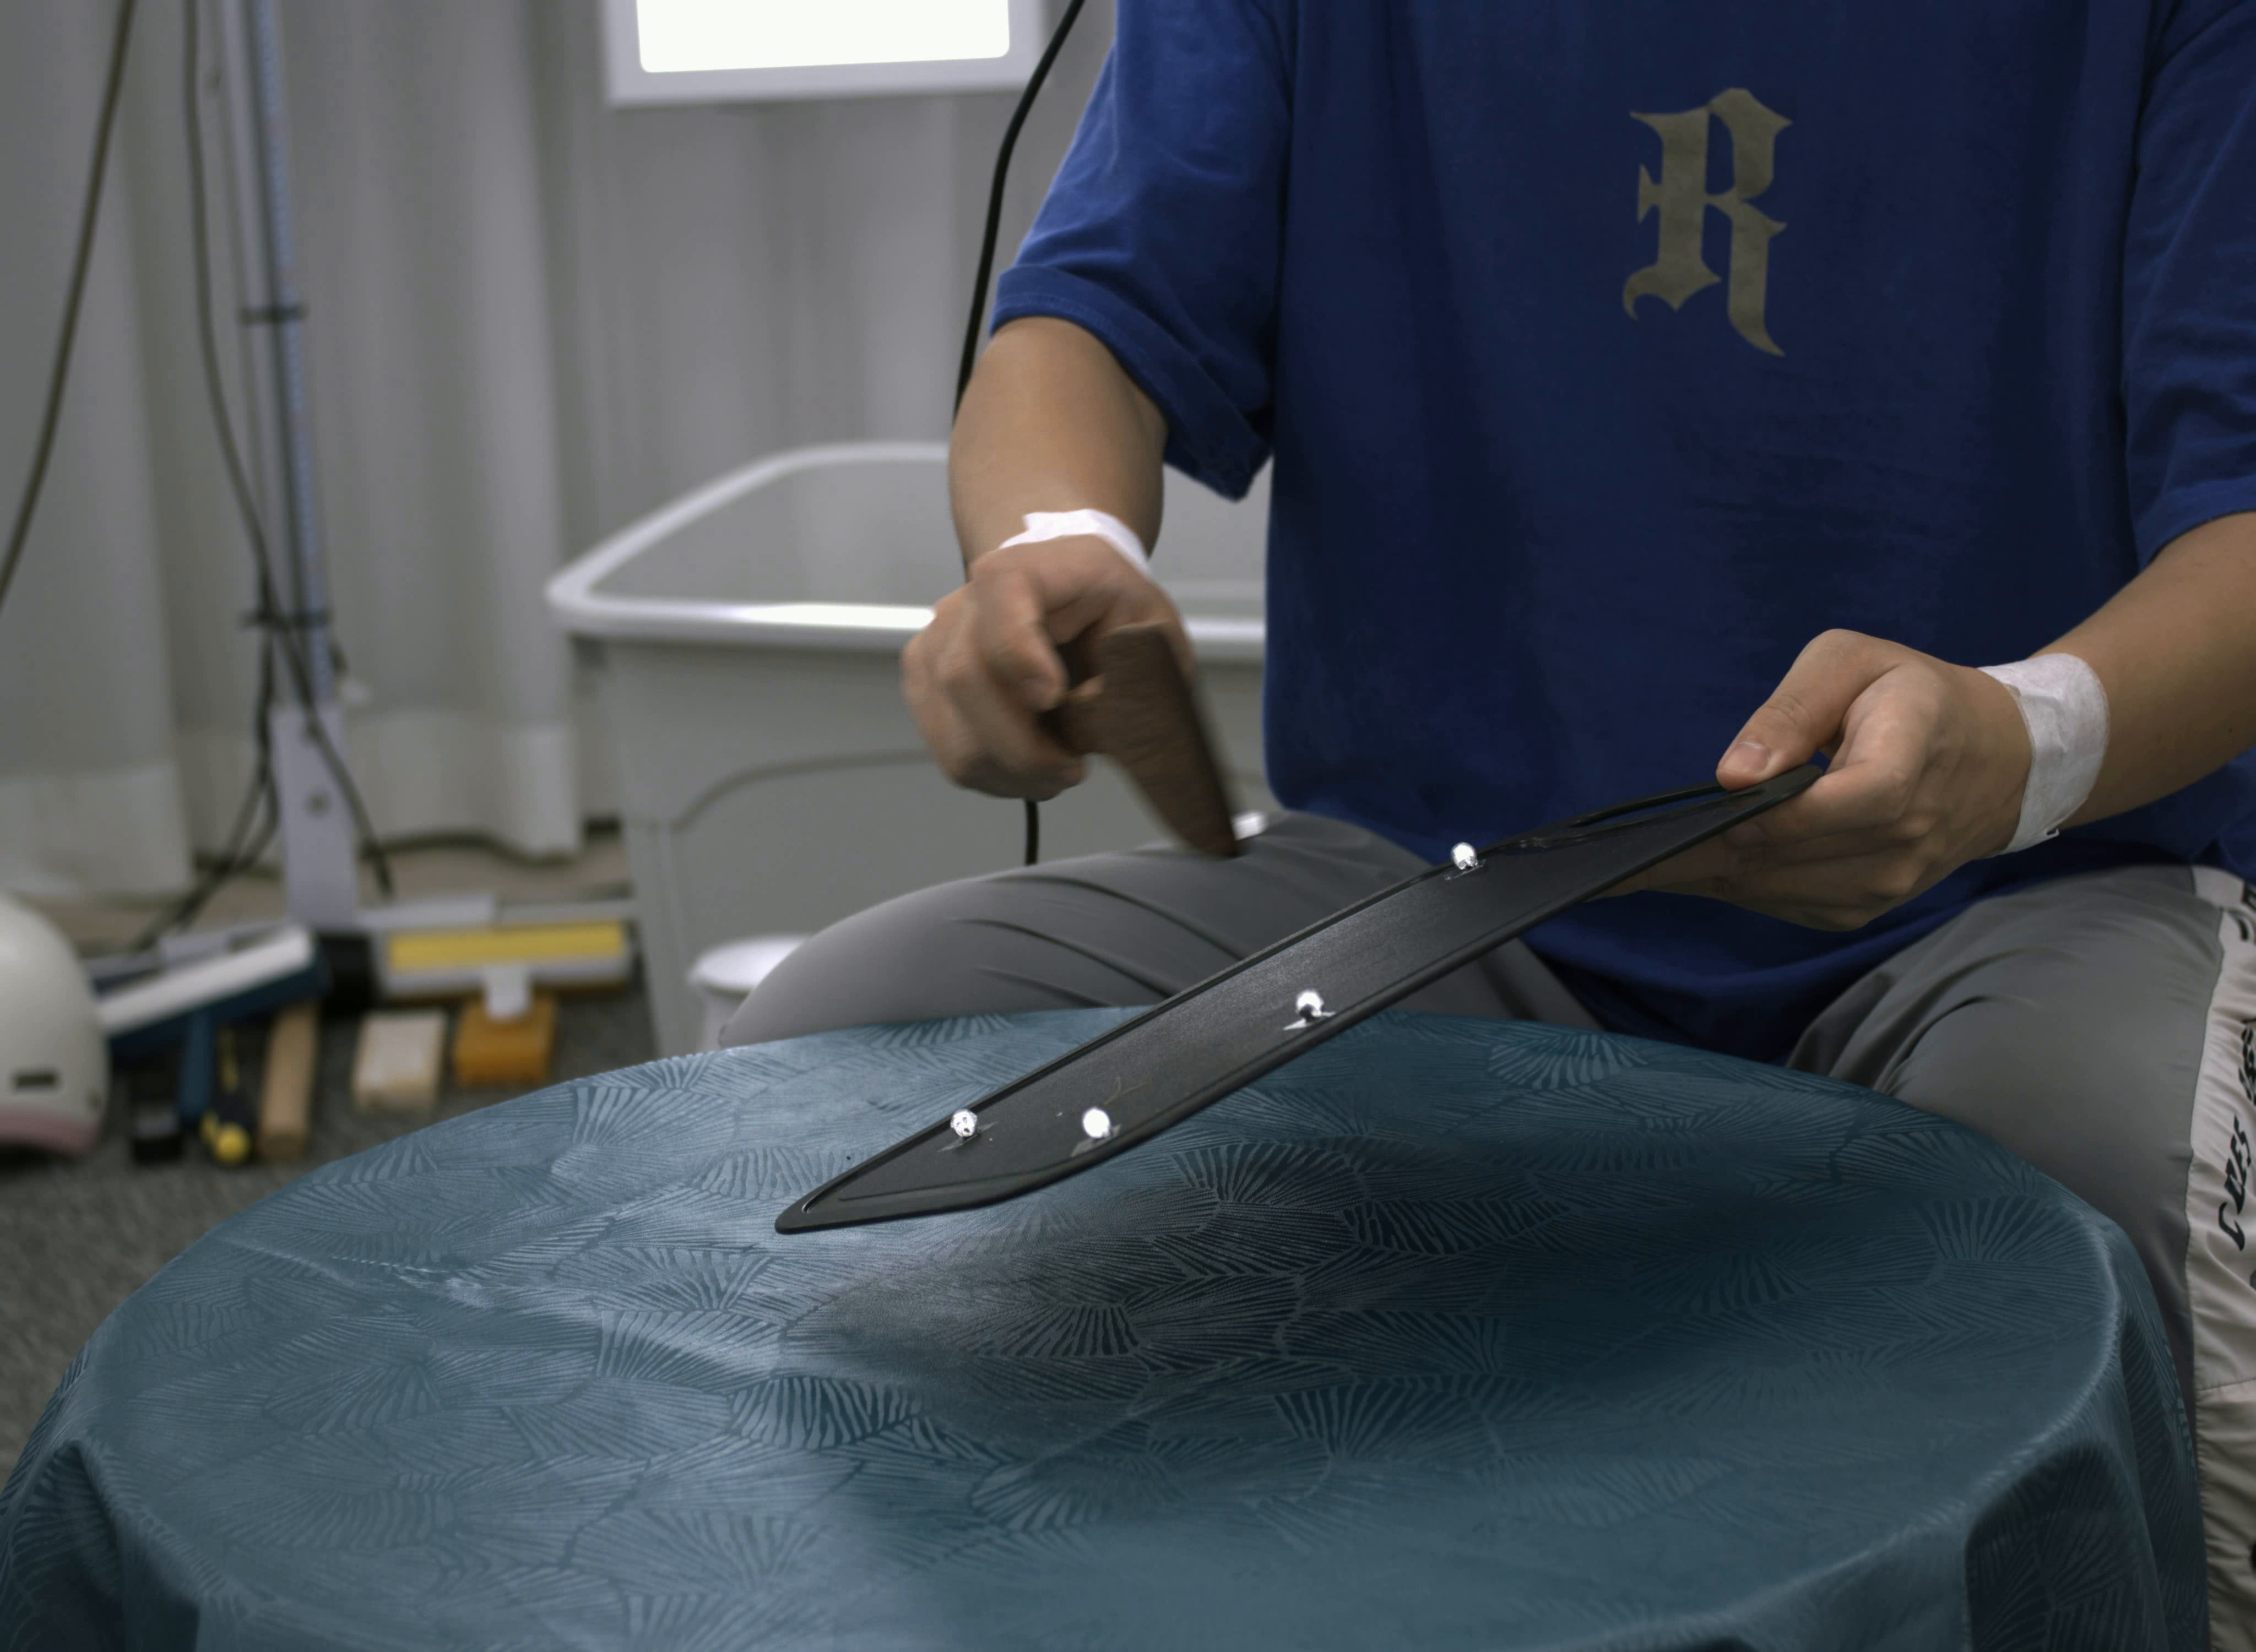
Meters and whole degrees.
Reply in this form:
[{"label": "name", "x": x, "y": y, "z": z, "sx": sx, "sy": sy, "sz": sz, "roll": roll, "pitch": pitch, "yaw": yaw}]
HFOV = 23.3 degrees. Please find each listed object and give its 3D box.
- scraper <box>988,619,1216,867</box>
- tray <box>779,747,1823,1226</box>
[{"label": "scraper", "x": -0.015, "y": -0.029, "z": 1.660, "sx": 0.011, "sy": 0.076, "sz": 0.212, "roll": -22, "pitch": 9, "yaw": -12}, {"label": "tray", "x": 0.056, "y": 0.044, "z": 1.619, "sx": 0.325, "sy": 0.010, "sz": 0.211, "roll": -27, "pitch": 5, "yaw": -28}]
